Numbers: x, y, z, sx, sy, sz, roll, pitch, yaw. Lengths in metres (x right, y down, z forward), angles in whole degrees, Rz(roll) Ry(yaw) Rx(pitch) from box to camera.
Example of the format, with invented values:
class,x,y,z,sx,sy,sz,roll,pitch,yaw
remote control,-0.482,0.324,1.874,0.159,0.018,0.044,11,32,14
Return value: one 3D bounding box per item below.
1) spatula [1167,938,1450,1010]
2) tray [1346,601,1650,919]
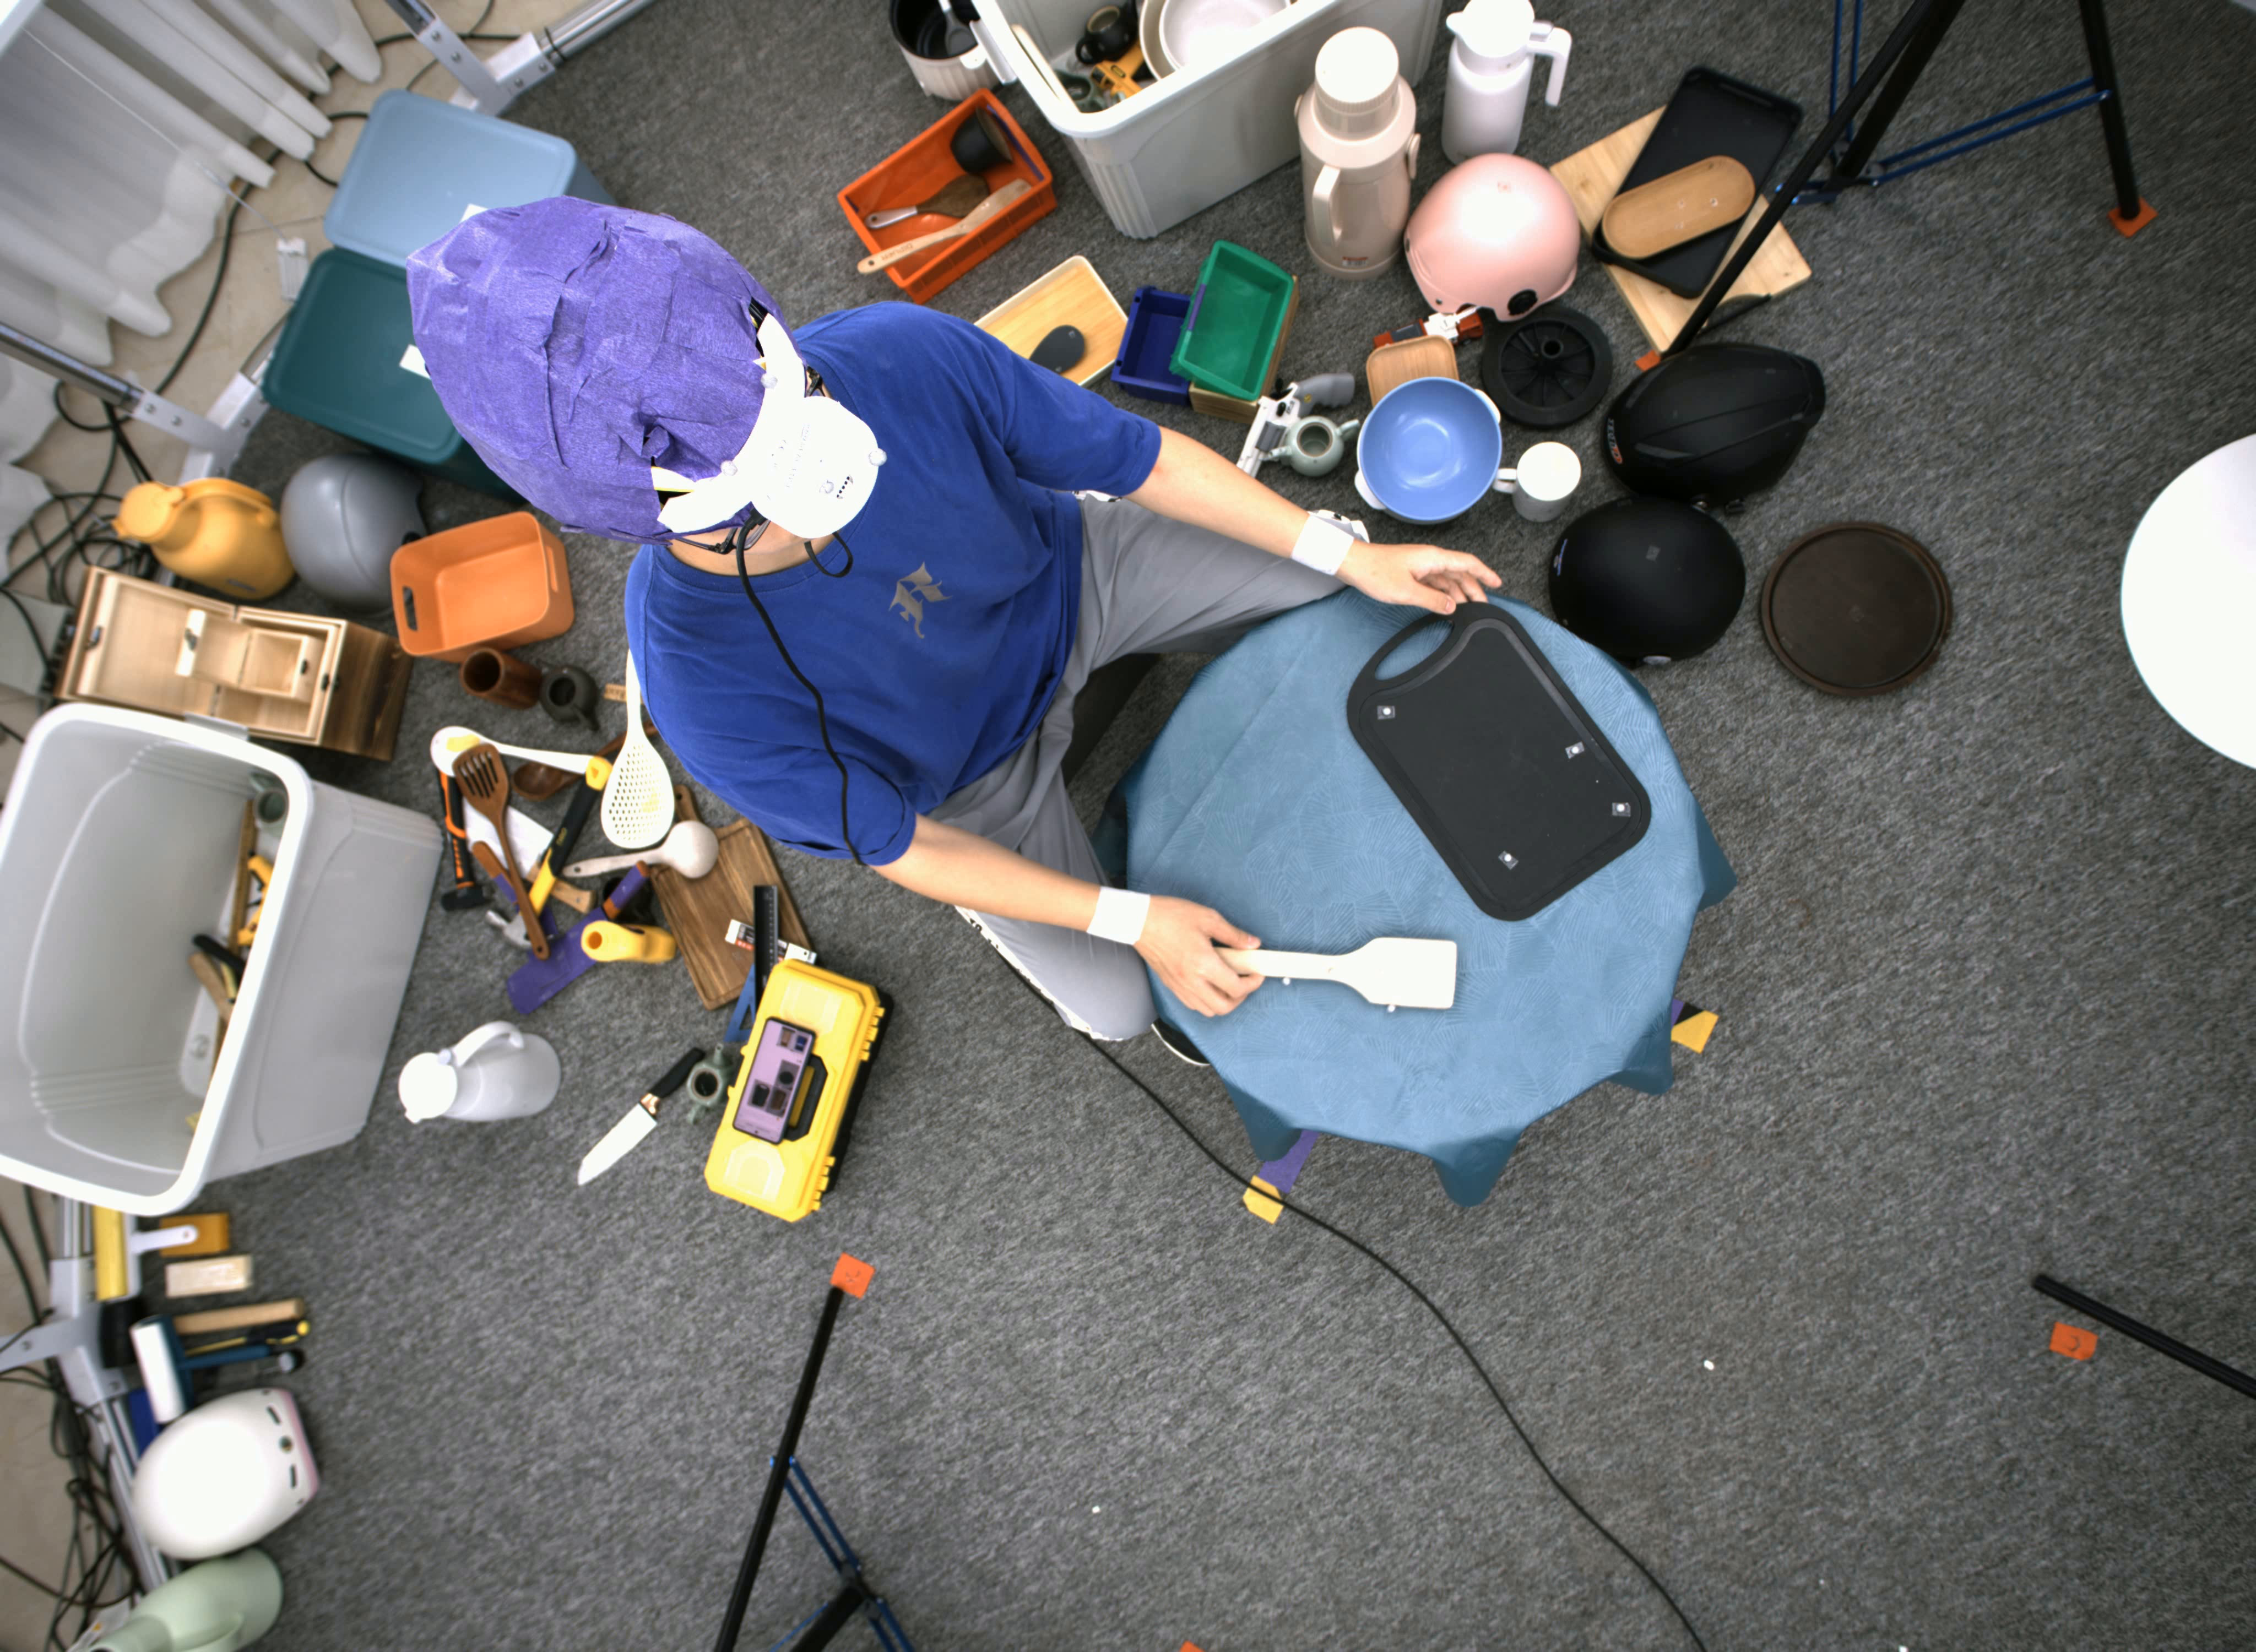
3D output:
class,x,y,z,sx,sy,sz,roll,pitch,yaw
spatula,0.186,0.146,1.444,0.294,0.010,0.072,3,96,9
tray,0.380,-0.078,1.437,0.212,0.010,0.324,-35,83,8
